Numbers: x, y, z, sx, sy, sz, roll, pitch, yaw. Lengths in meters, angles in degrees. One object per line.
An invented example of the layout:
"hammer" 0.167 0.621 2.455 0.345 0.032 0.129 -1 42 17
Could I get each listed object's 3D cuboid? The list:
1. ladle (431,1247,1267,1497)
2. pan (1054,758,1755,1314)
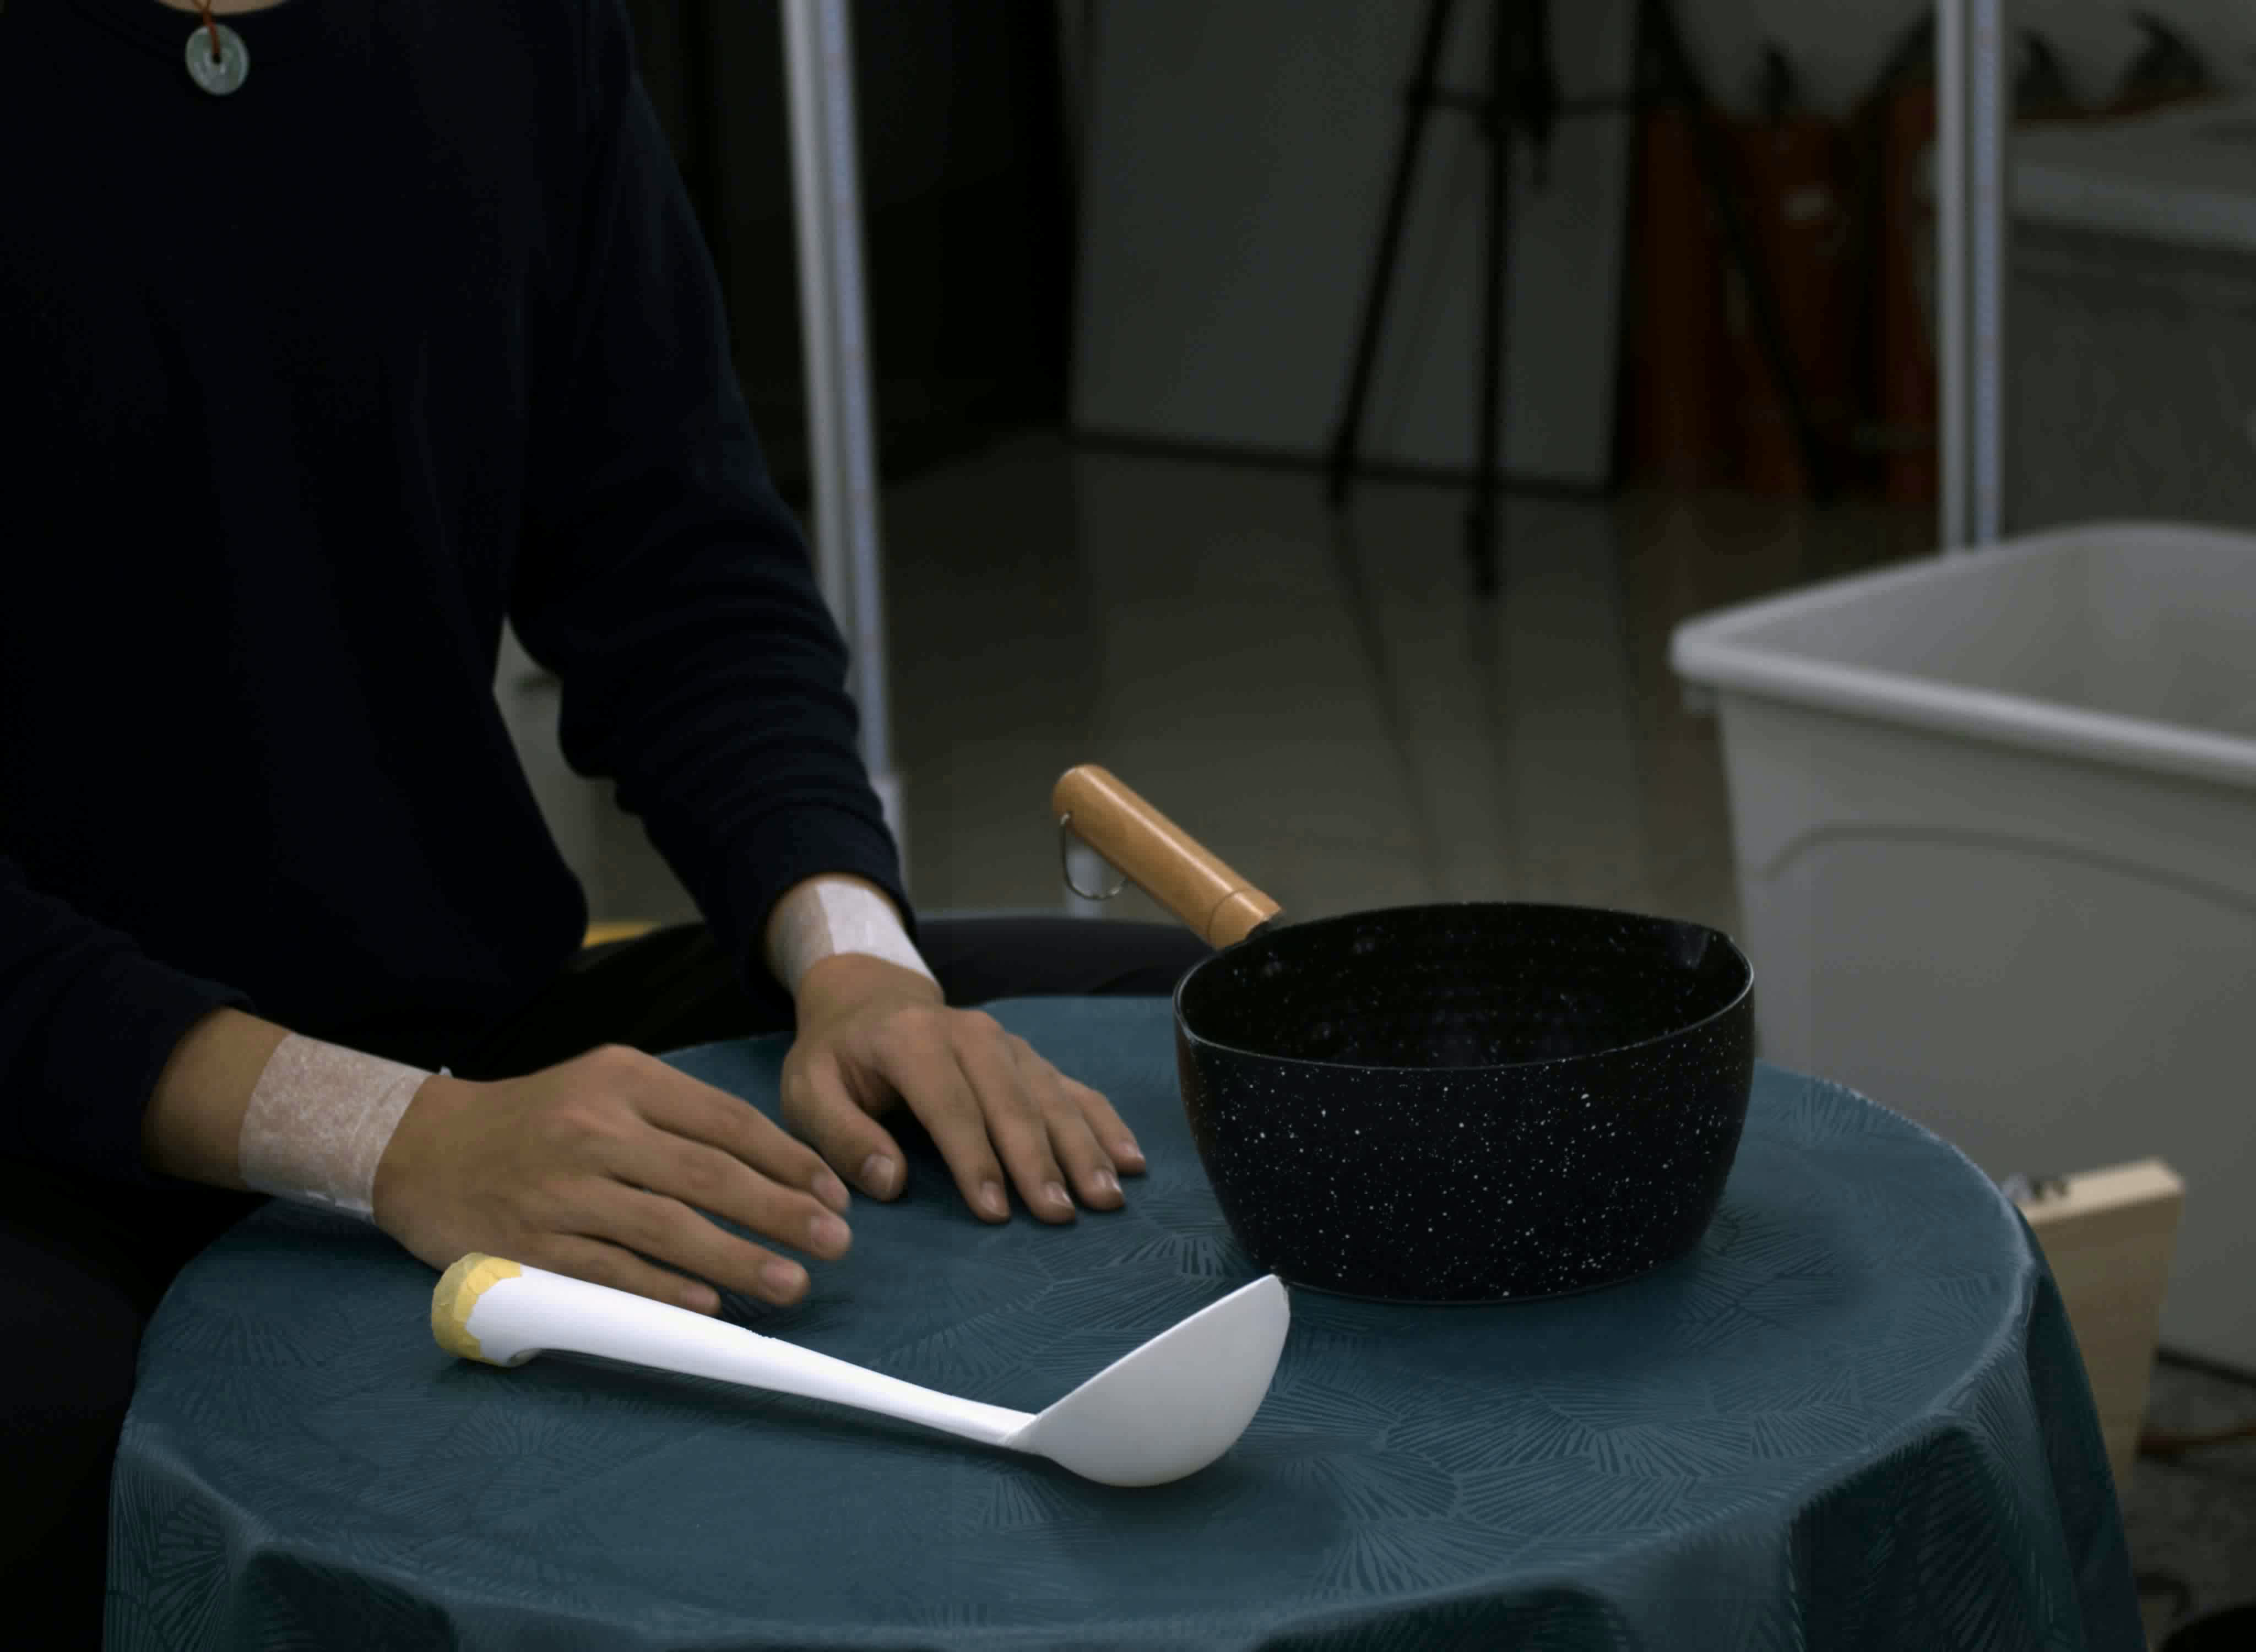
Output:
"ladle" -0.087 0.146 1.561 0.295 0.070 0.089 5 22 36
"pan" 0.066 0.062 1.763 0.203 0.109 0.346 -13 17 -28
